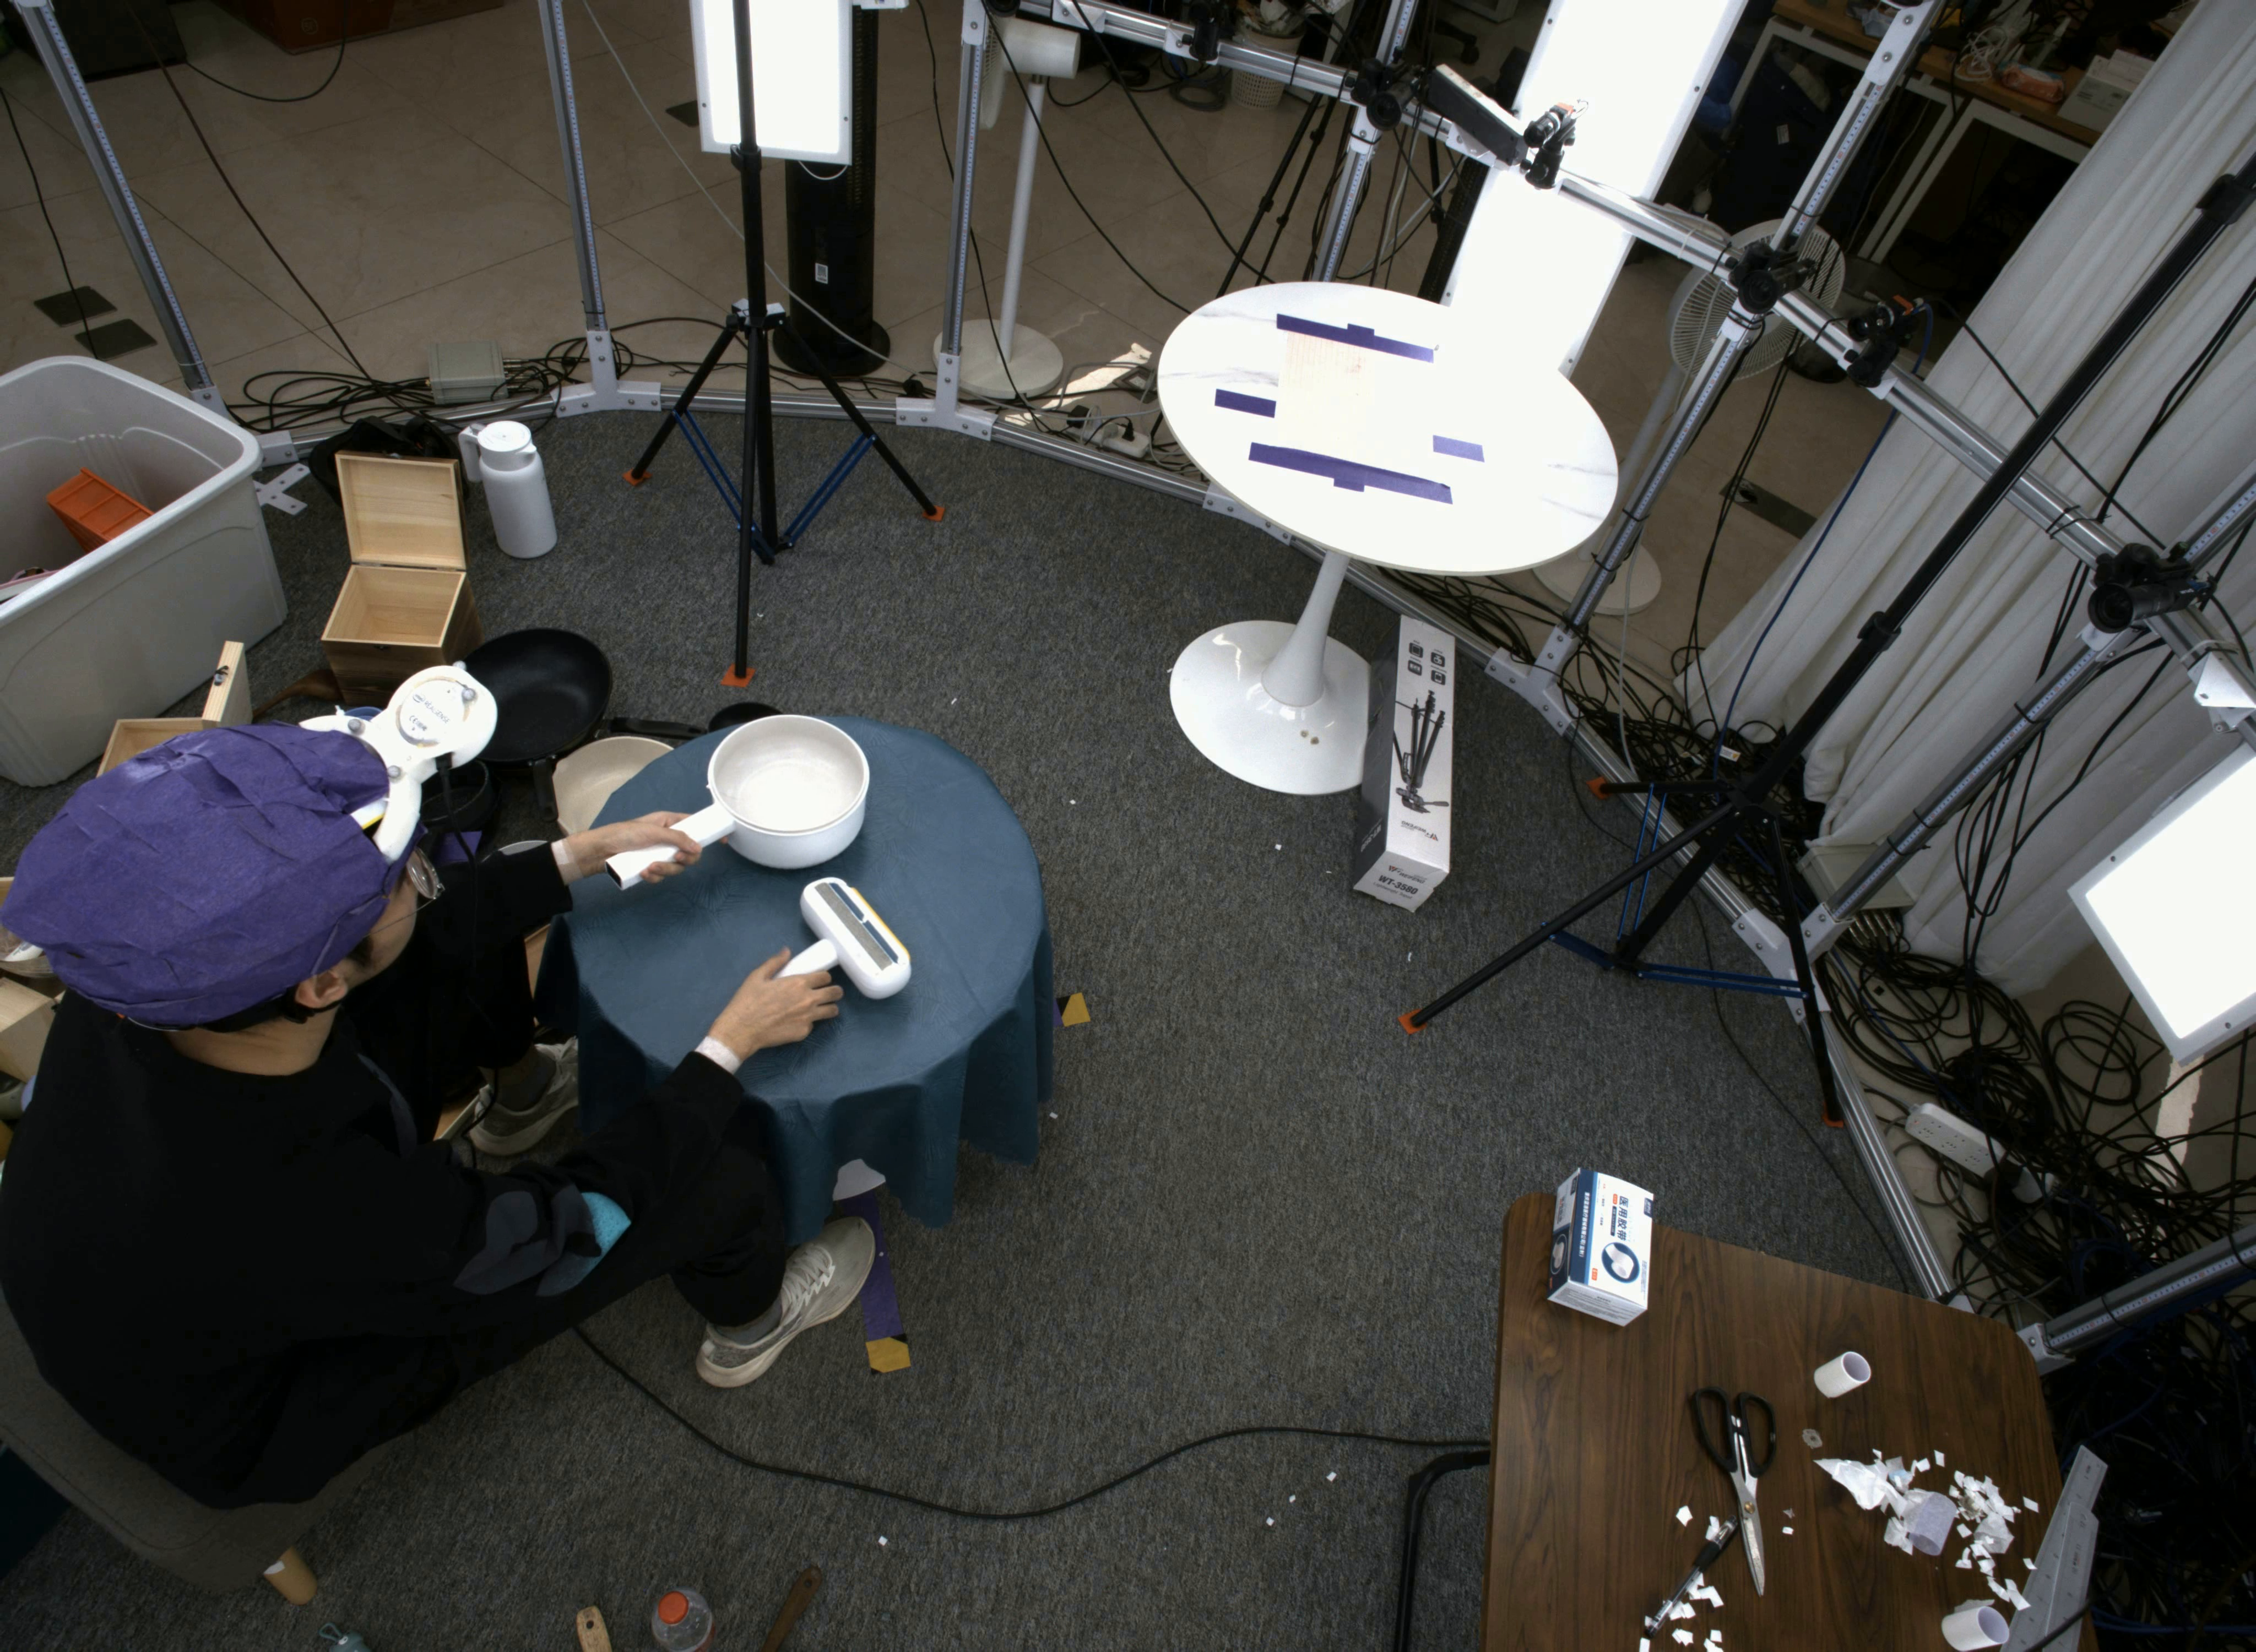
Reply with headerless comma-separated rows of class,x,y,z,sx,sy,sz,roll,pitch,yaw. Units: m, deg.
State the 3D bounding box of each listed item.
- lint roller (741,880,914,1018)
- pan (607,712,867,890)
lint roller,-0.381,0.166,1.575,0.193,0.076,0.187,-25,58,-27
pan,-0.495,-0.005,1.645,0.197,0.104,0.356,43,54,18
